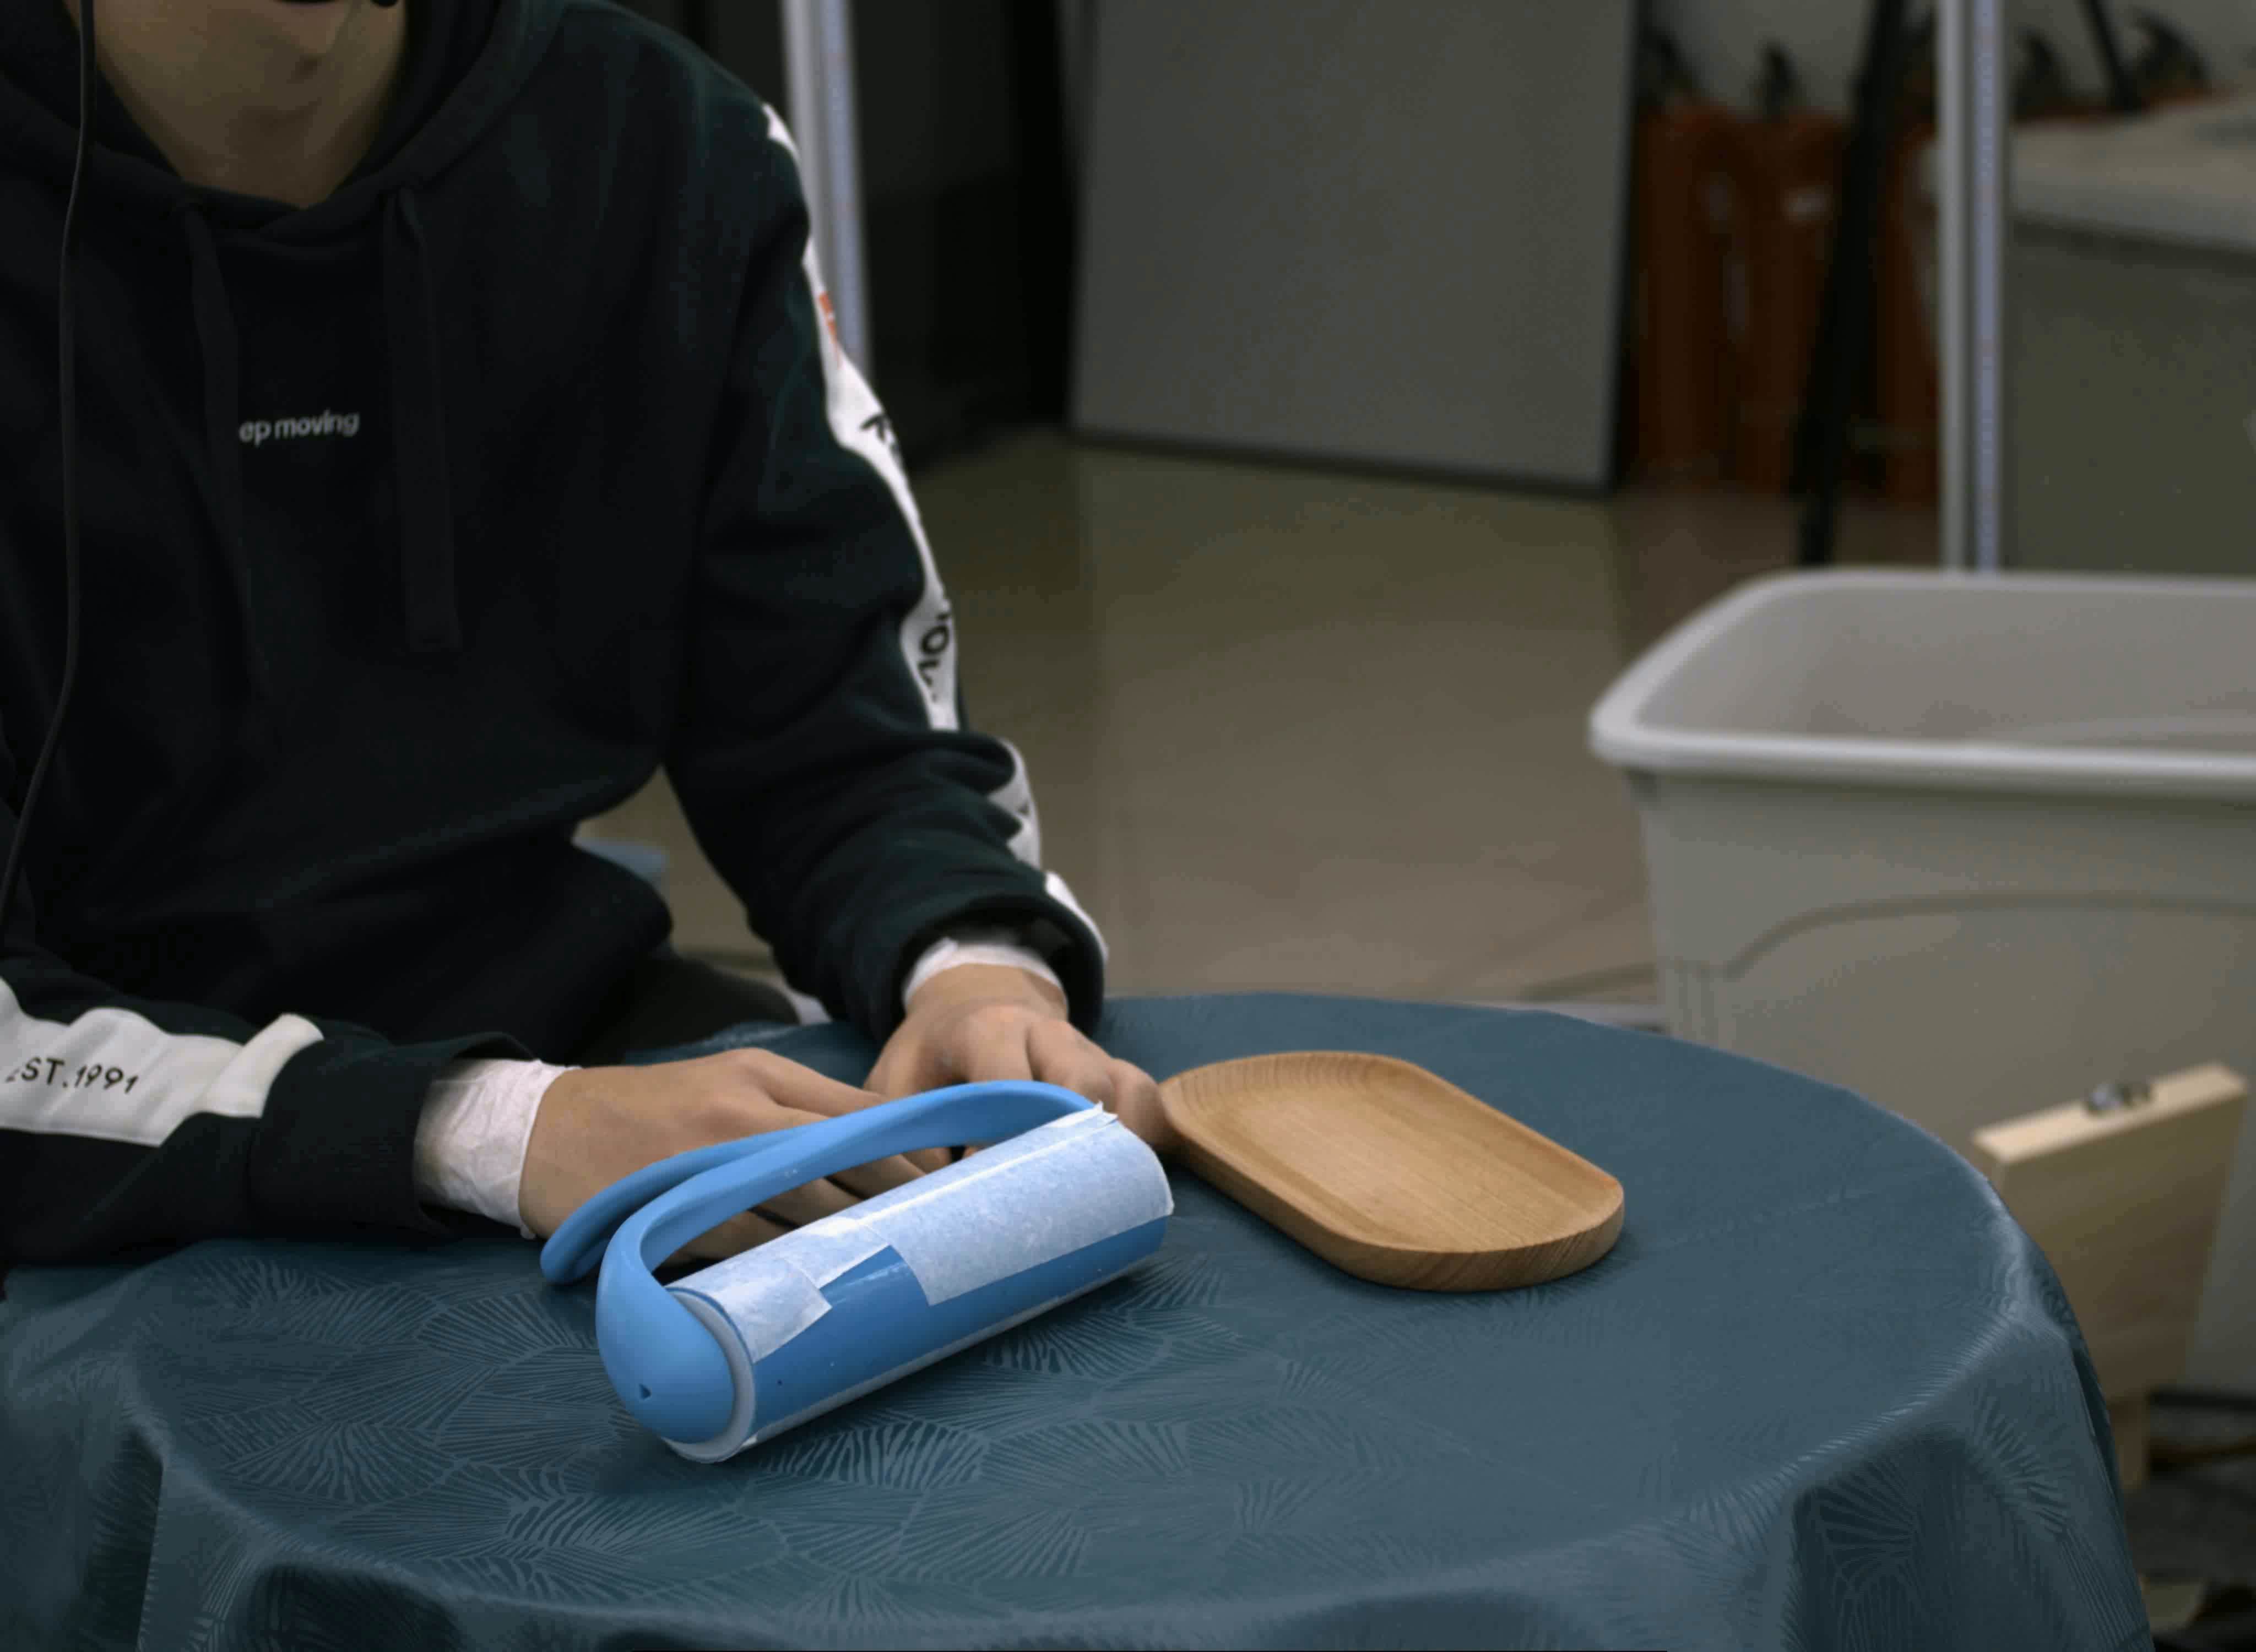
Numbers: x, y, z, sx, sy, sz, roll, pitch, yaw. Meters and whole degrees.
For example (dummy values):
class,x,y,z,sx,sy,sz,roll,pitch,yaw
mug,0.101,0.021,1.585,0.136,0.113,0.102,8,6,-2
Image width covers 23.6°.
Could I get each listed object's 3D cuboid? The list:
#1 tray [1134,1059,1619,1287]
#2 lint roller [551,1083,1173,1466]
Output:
class,x,y,z,sx,sy,sz,roll,pitch,yaw
tray,0.079,0.111,1.755,0.099,0.020,0.233,-8,13,-22
lint roller,-0.112,0.129,1.653,0.181,0.068,0.225,7,19,36
